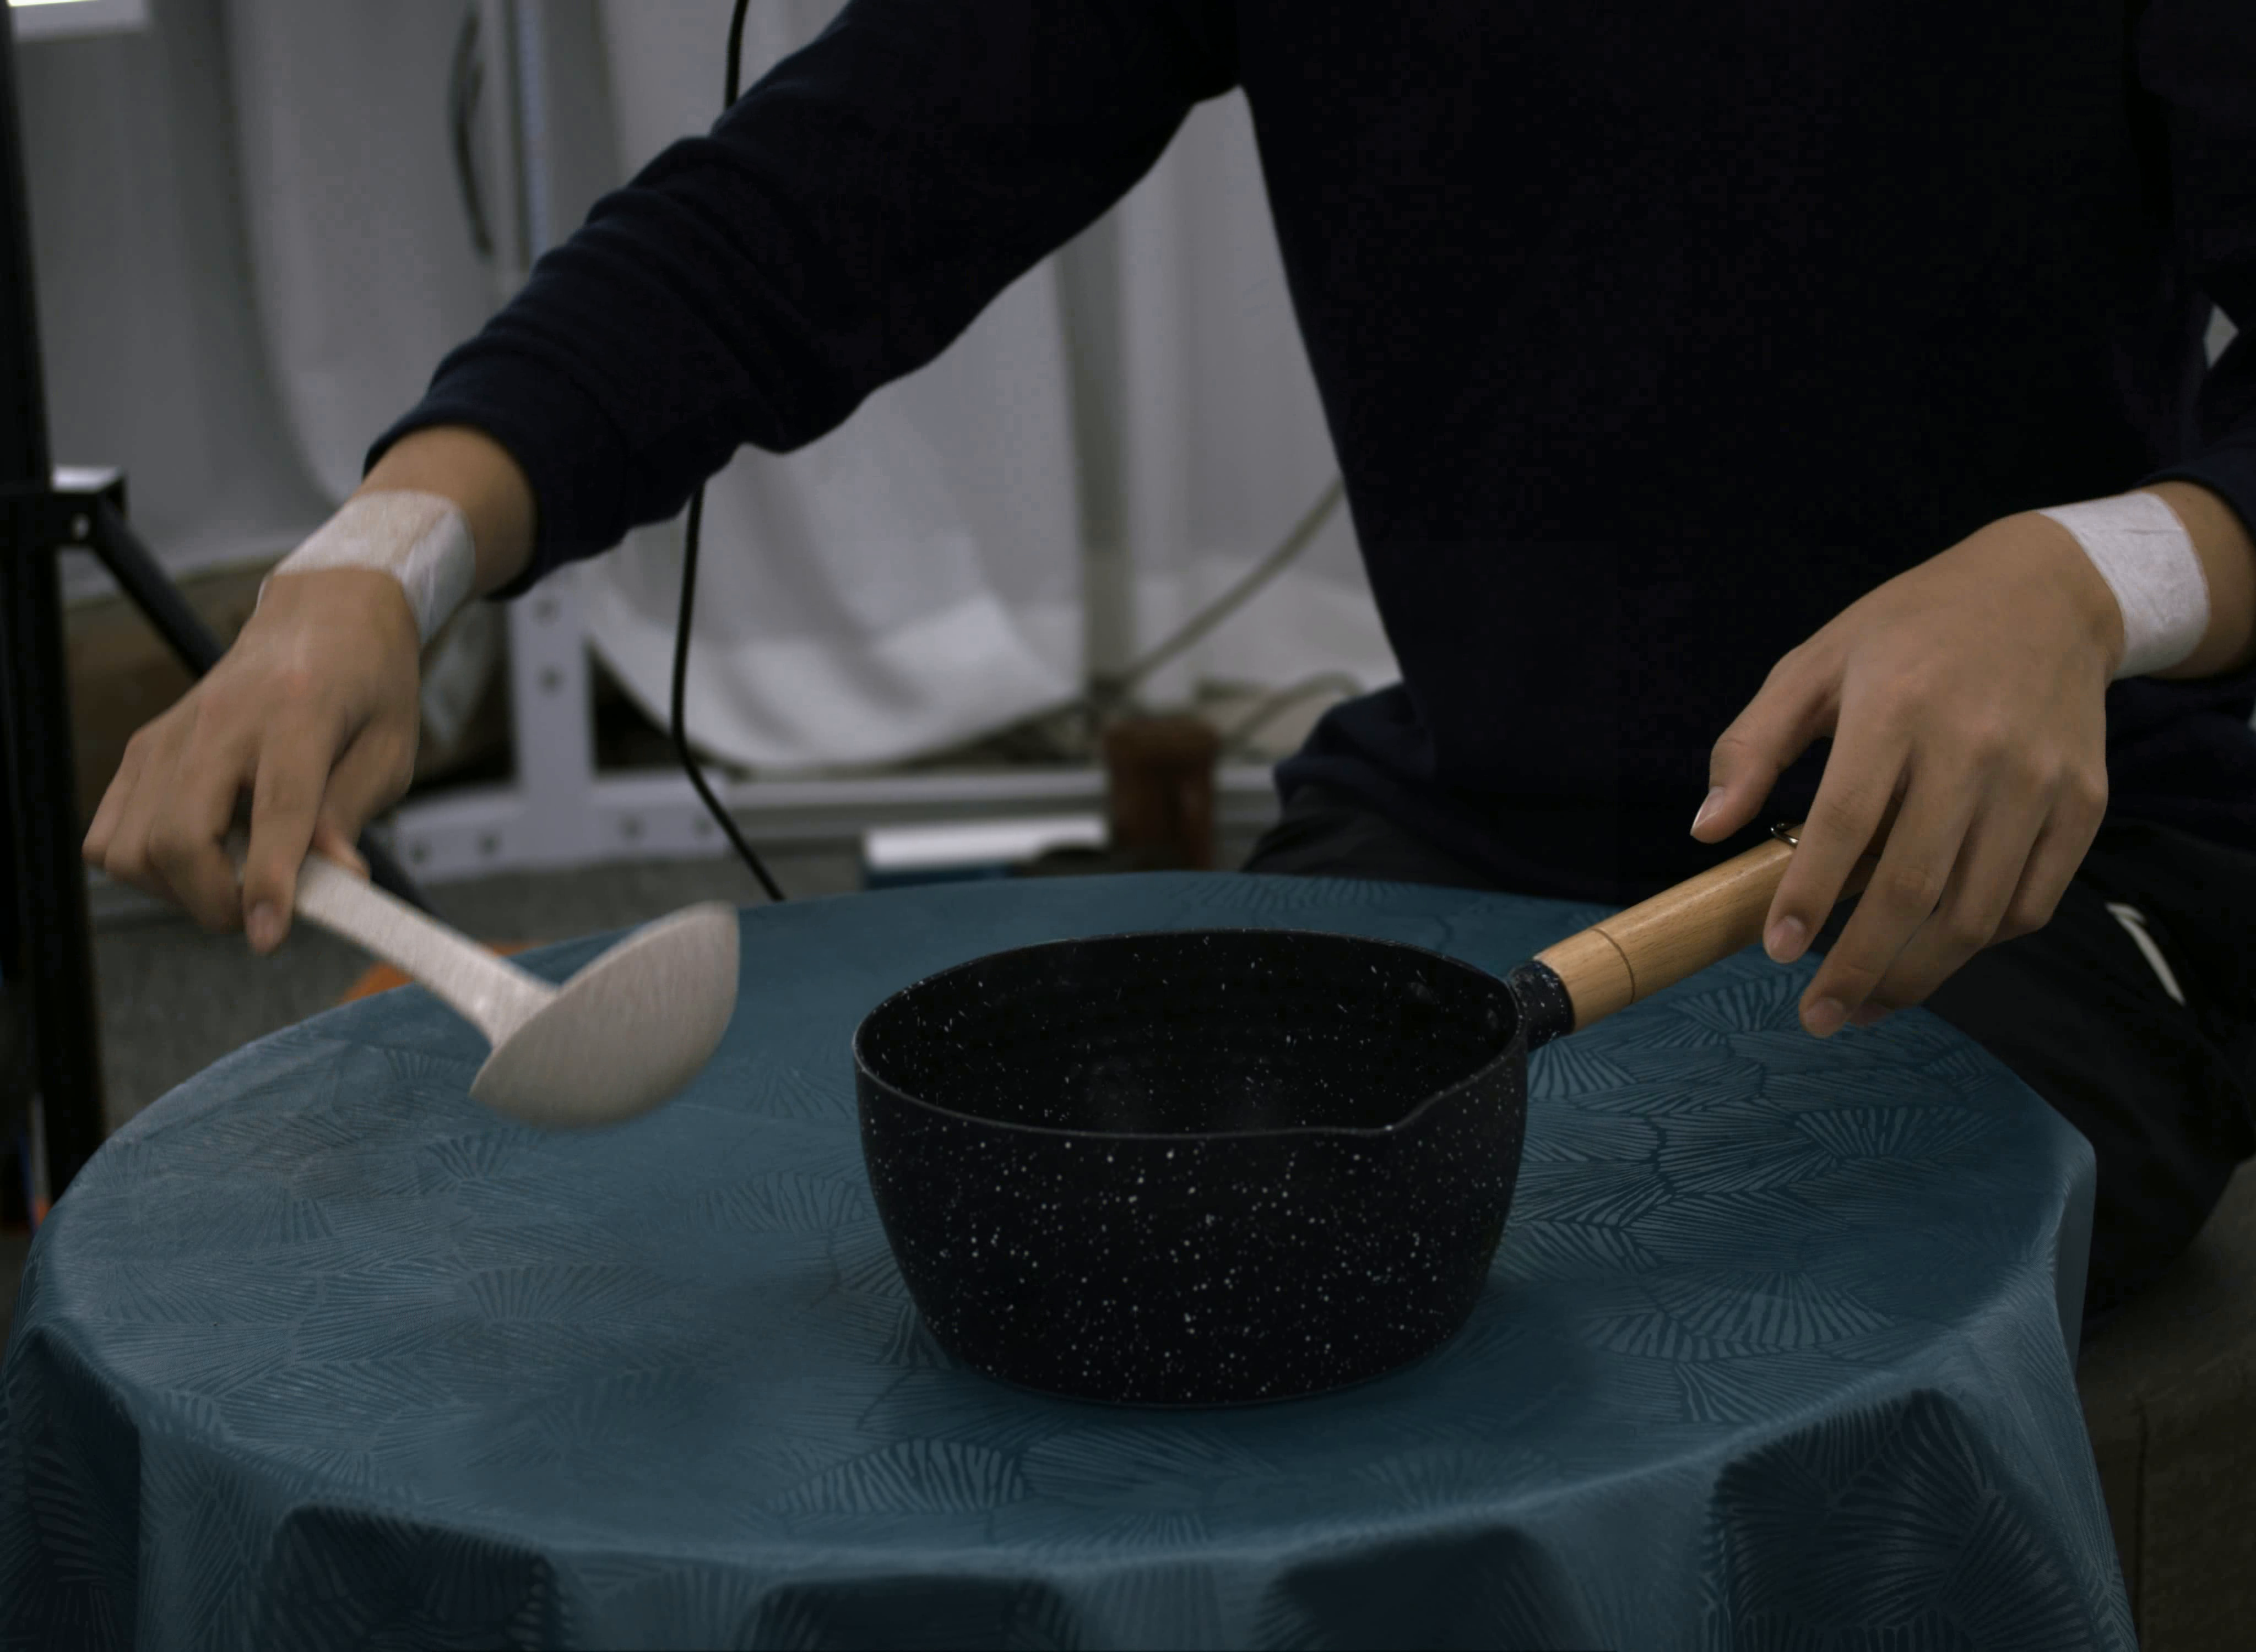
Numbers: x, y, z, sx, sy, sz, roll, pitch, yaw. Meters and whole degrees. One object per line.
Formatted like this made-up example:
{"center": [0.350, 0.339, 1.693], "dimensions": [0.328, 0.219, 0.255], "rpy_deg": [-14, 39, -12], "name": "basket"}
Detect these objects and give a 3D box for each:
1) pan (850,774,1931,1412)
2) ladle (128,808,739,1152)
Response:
{"center": [0.085, 0.069, 1.483], "dimensions": [0.335, 0.108, 0.212], "rpy_deg": [-13, 17, -28], "name": "pan"}
{"center": [-0.215, 0.019, 1.530], "dimensions": [0.088, 0.069, 0.281], "rpy_deg": [-33, 40, -28], "name": "ladle"}
